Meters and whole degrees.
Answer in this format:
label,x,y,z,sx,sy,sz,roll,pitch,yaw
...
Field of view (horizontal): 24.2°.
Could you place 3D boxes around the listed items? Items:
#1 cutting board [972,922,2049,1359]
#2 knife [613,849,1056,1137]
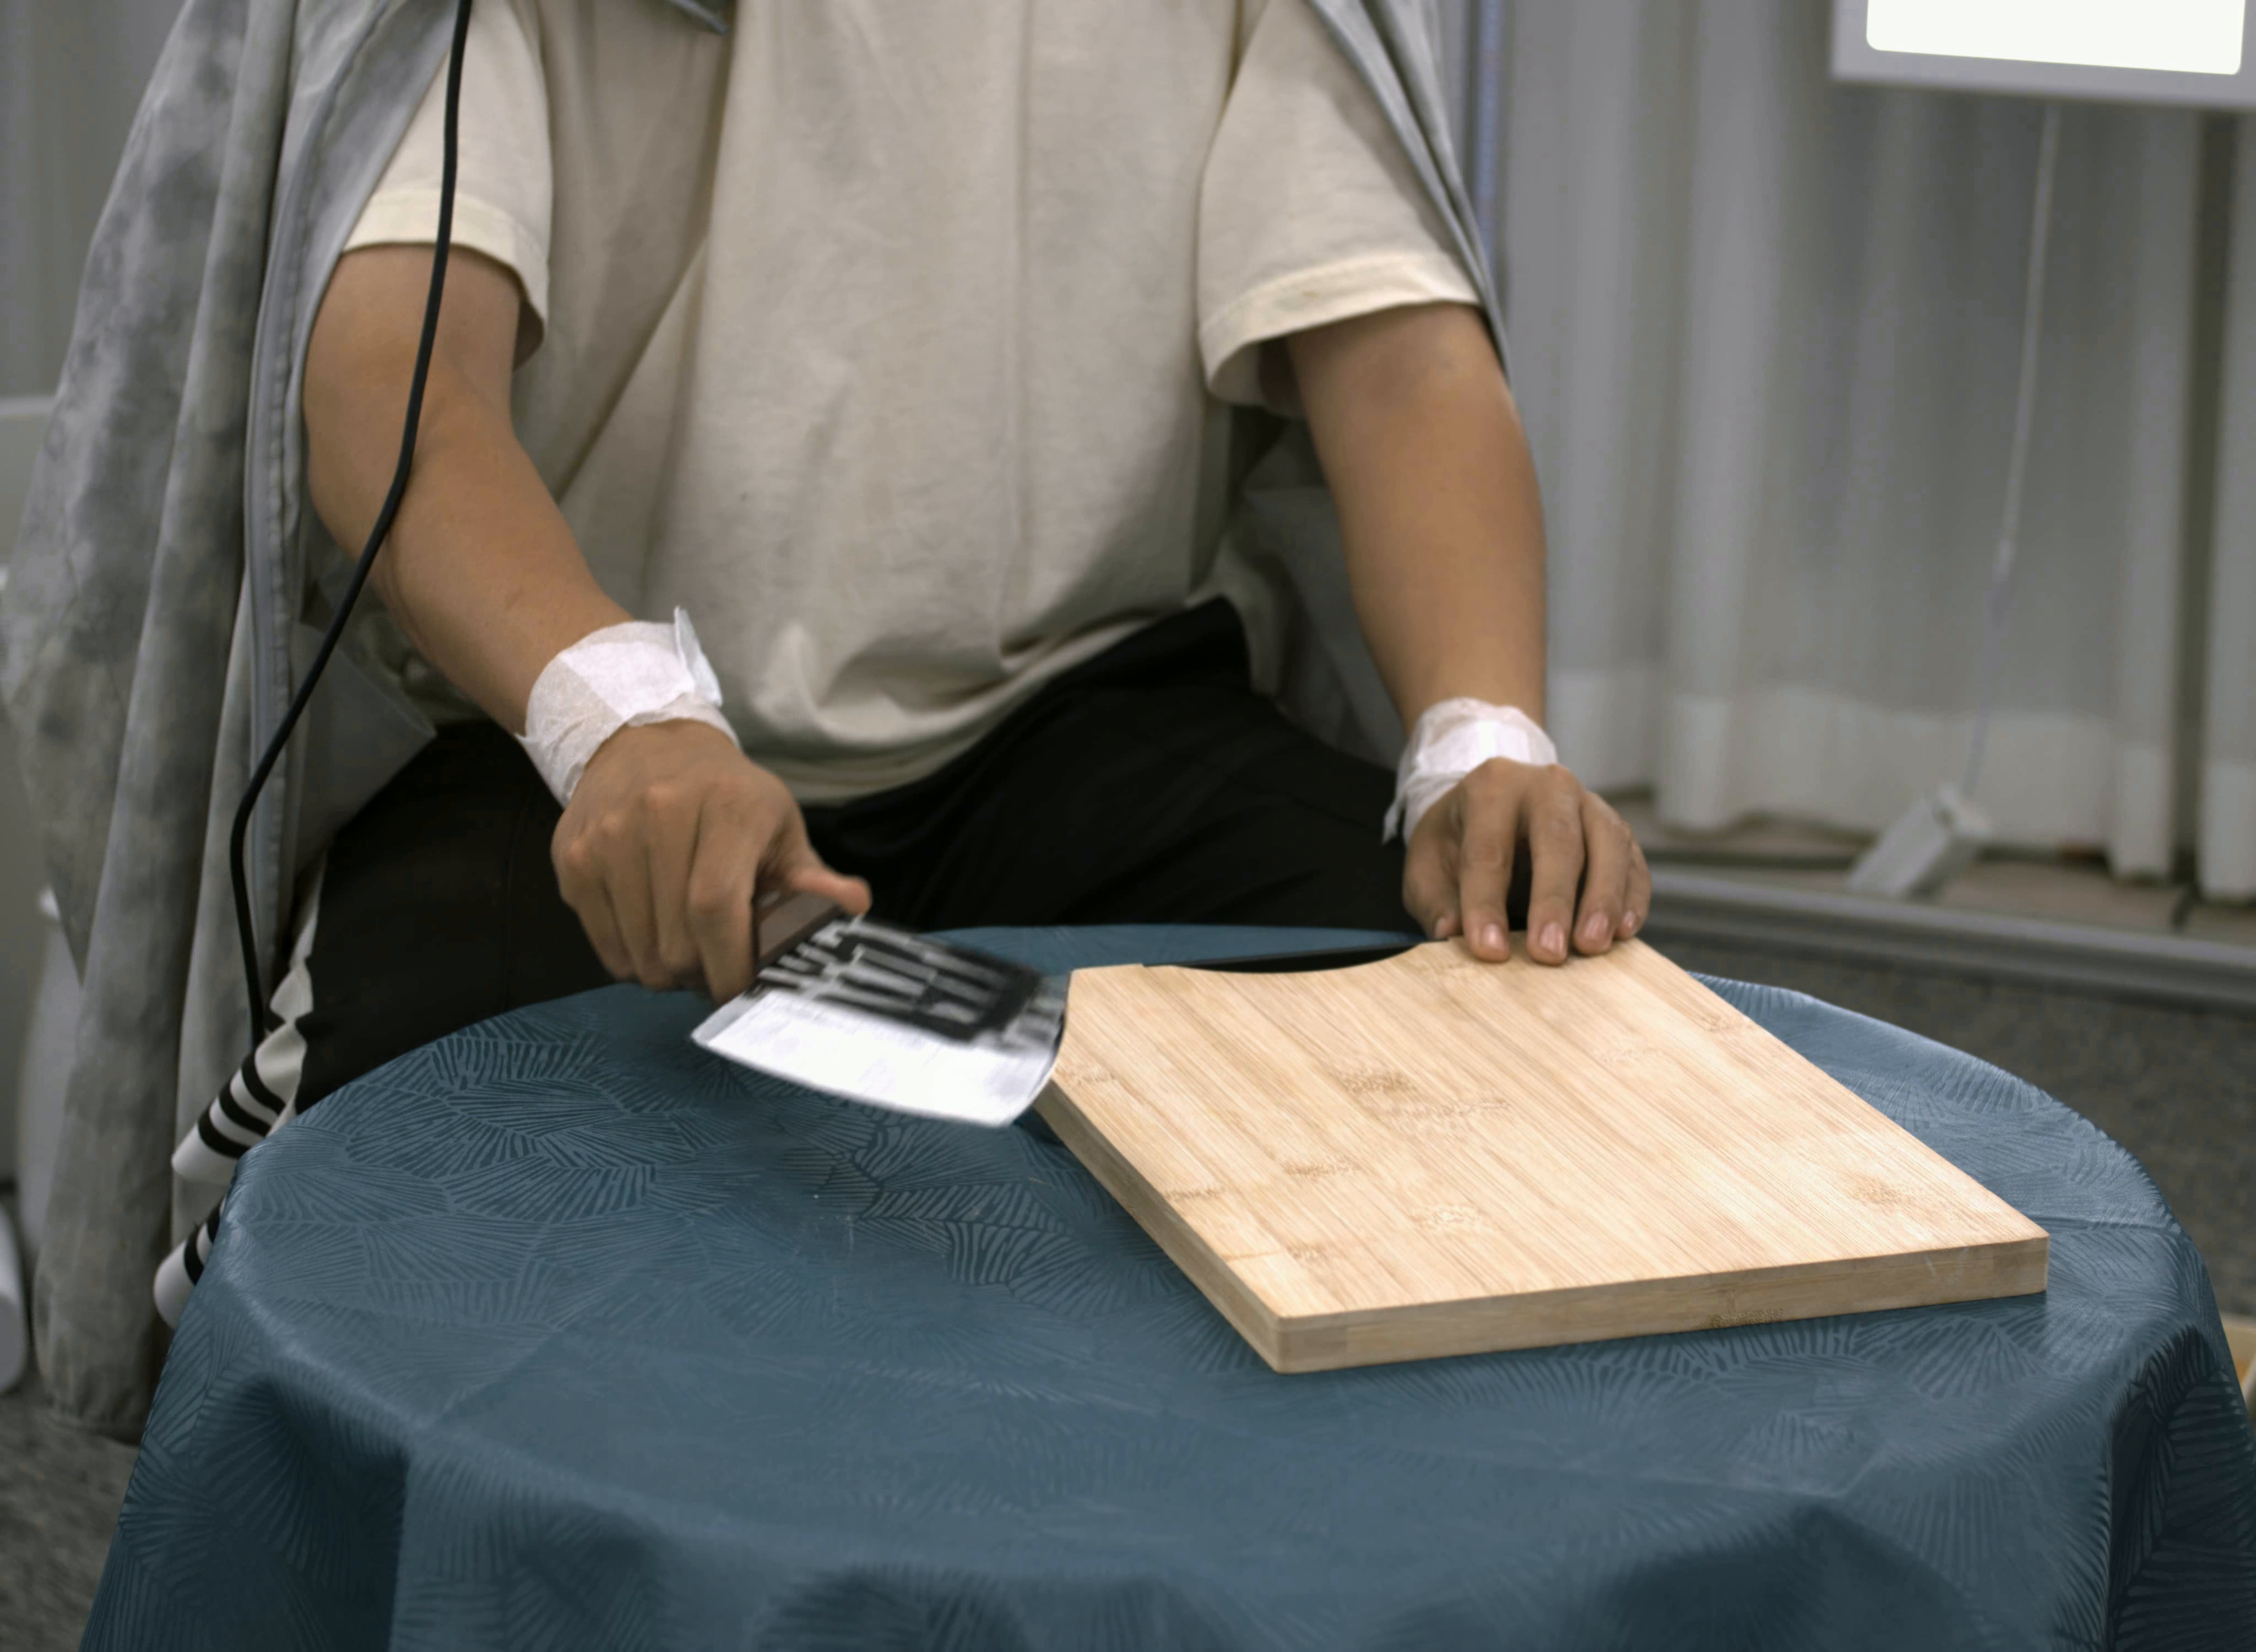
label,x,y,z,sx,sy,sz,roll,pitch,yaw
cutting board,0.106,0.094,1.668,0.251,0.024,0.345,-4,16,-18
knife,-0.101,0.052,1.643,0.068,0.024,0.296,-39,27,-21
